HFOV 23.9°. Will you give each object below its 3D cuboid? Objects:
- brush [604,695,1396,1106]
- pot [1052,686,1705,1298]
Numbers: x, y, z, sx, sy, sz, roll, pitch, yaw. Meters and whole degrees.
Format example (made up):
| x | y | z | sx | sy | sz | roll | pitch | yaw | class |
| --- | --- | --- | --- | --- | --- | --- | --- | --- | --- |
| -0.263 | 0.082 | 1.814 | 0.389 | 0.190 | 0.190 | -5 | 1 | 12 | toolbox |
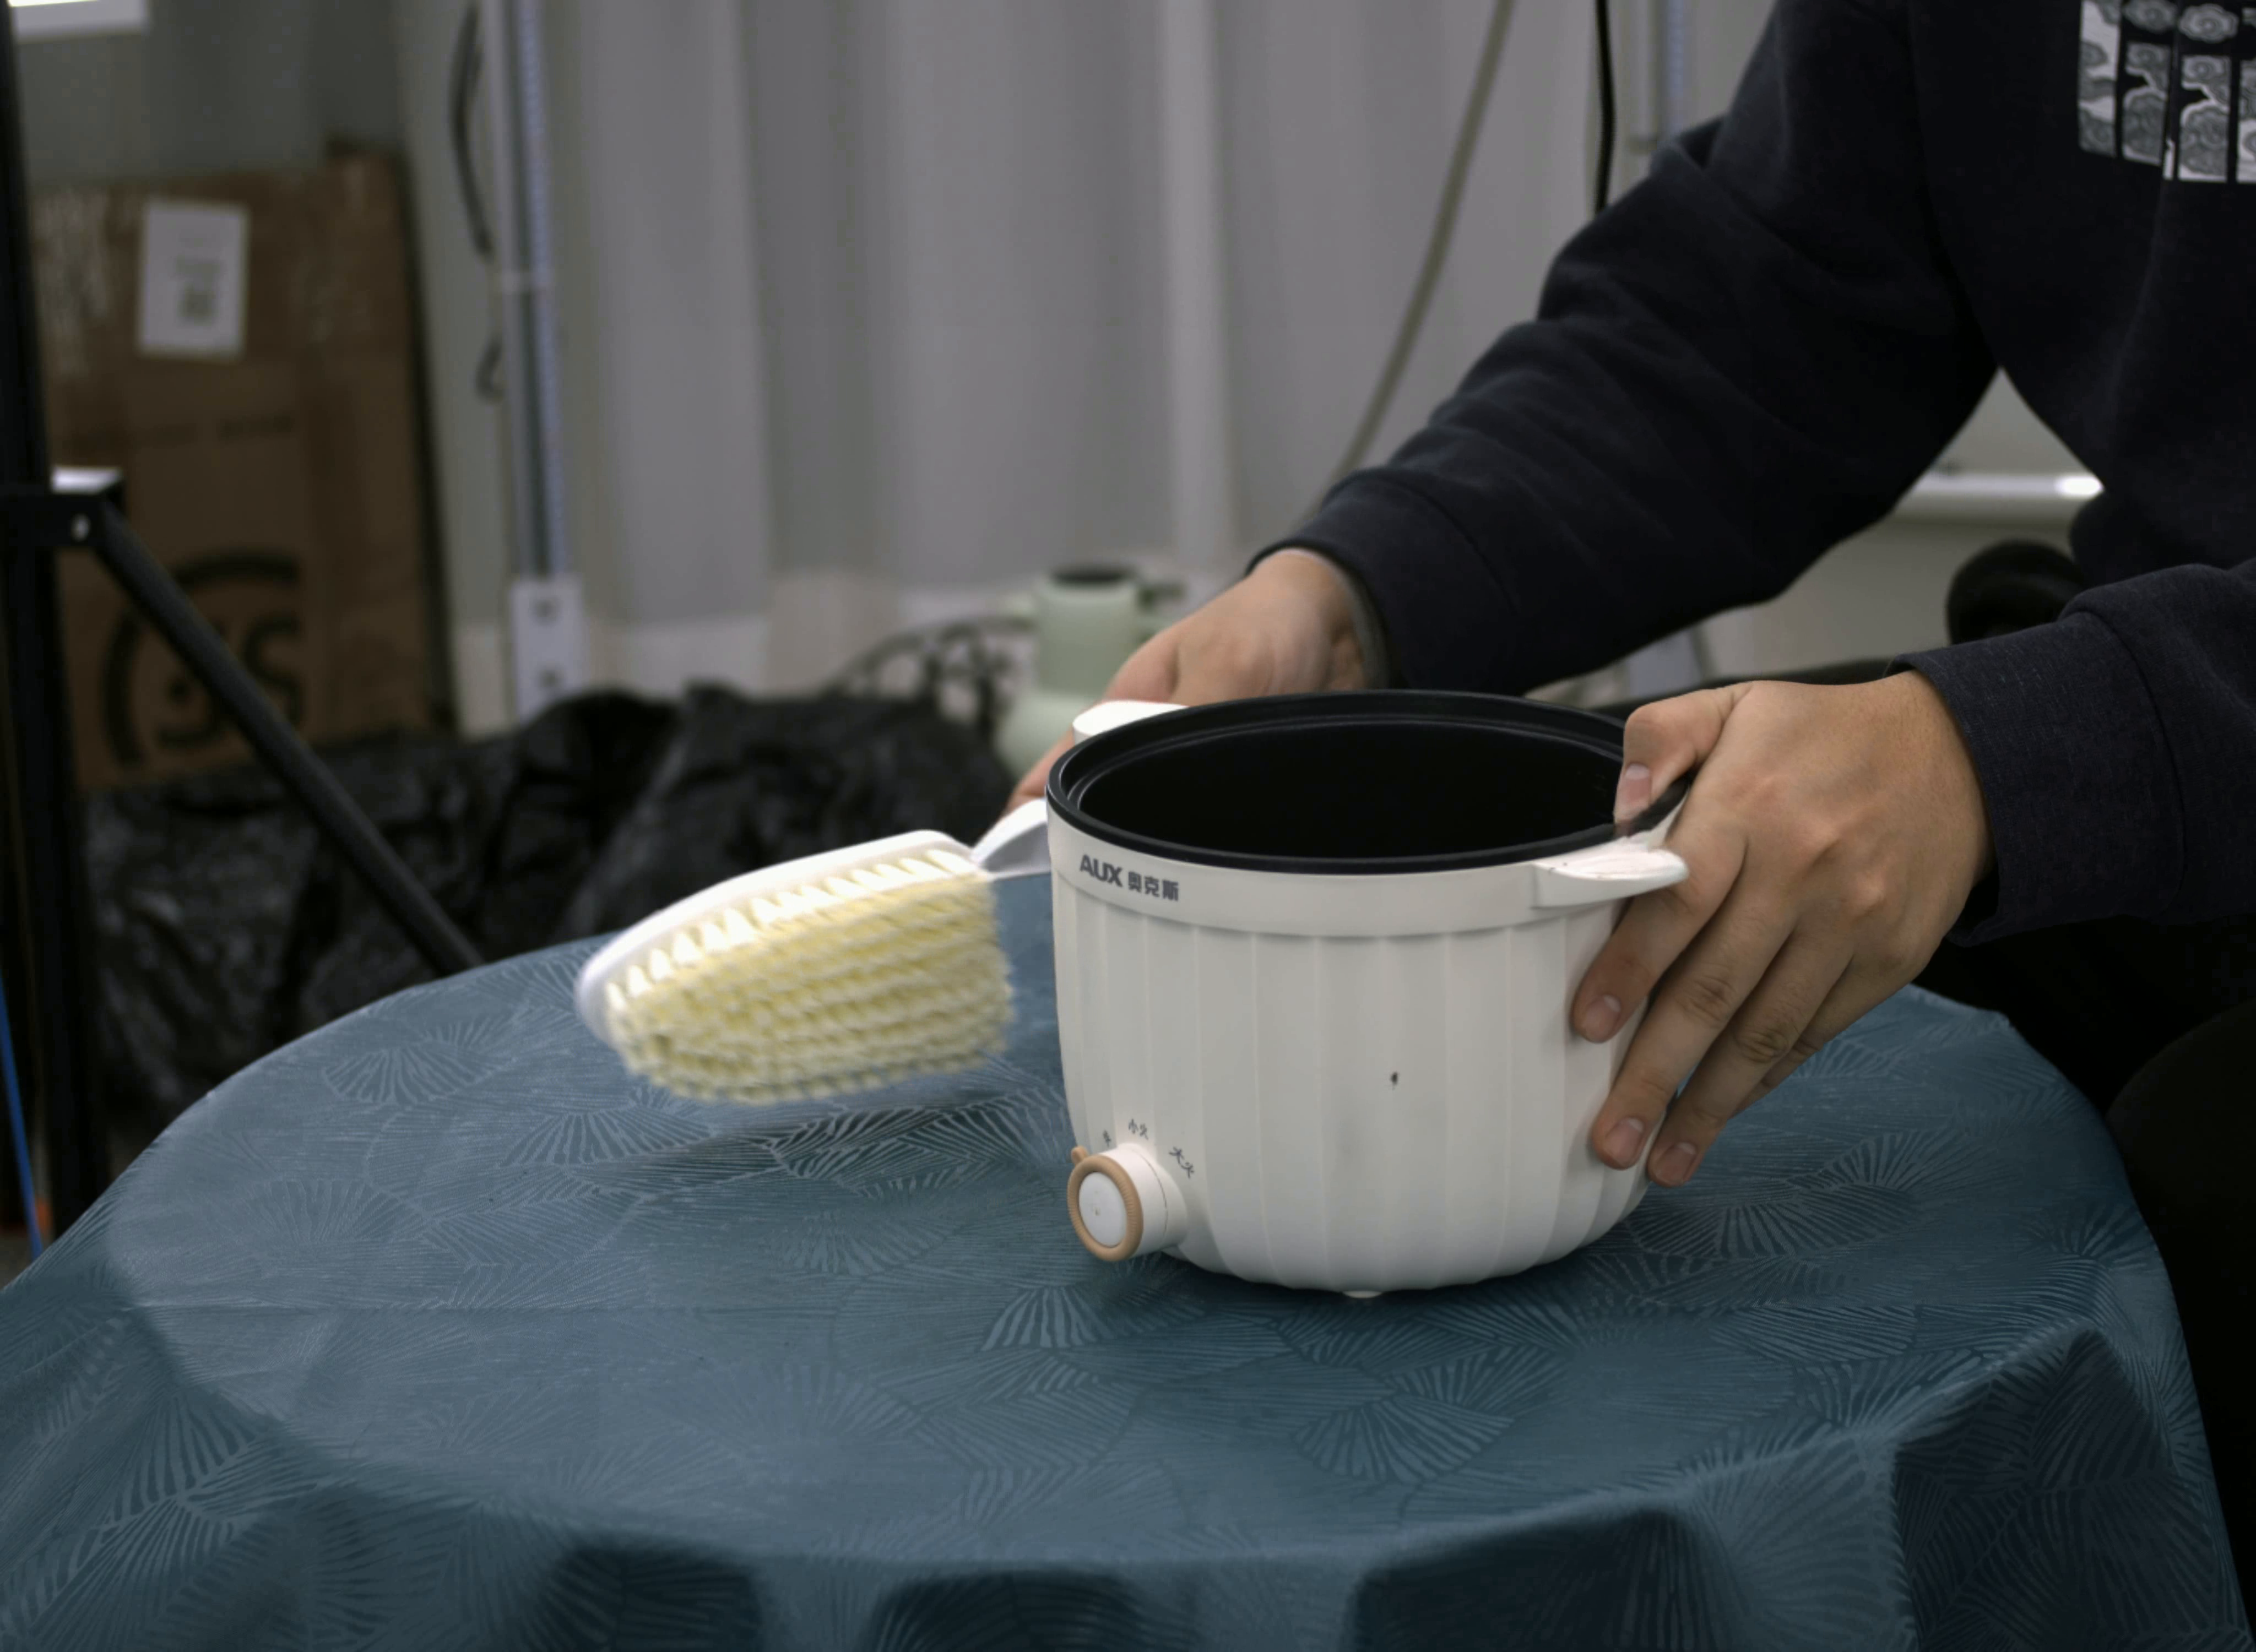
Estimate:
| x | y | z | sx | sy | sz | roll | pitch | yaw | class |
| --- | --- | --- | --- | --- | --- | --- | --- | --- | --- |
| -0.014 | 0.015 | 1.659 | 0.318 | 0.083 | 0.086 | -20 | 64 | -34 | brush |
| 0.066 | 0.049 | 1.501 | 0.186 | 0.143 | 0.246 | -10 | 16 | -38 | pot |
